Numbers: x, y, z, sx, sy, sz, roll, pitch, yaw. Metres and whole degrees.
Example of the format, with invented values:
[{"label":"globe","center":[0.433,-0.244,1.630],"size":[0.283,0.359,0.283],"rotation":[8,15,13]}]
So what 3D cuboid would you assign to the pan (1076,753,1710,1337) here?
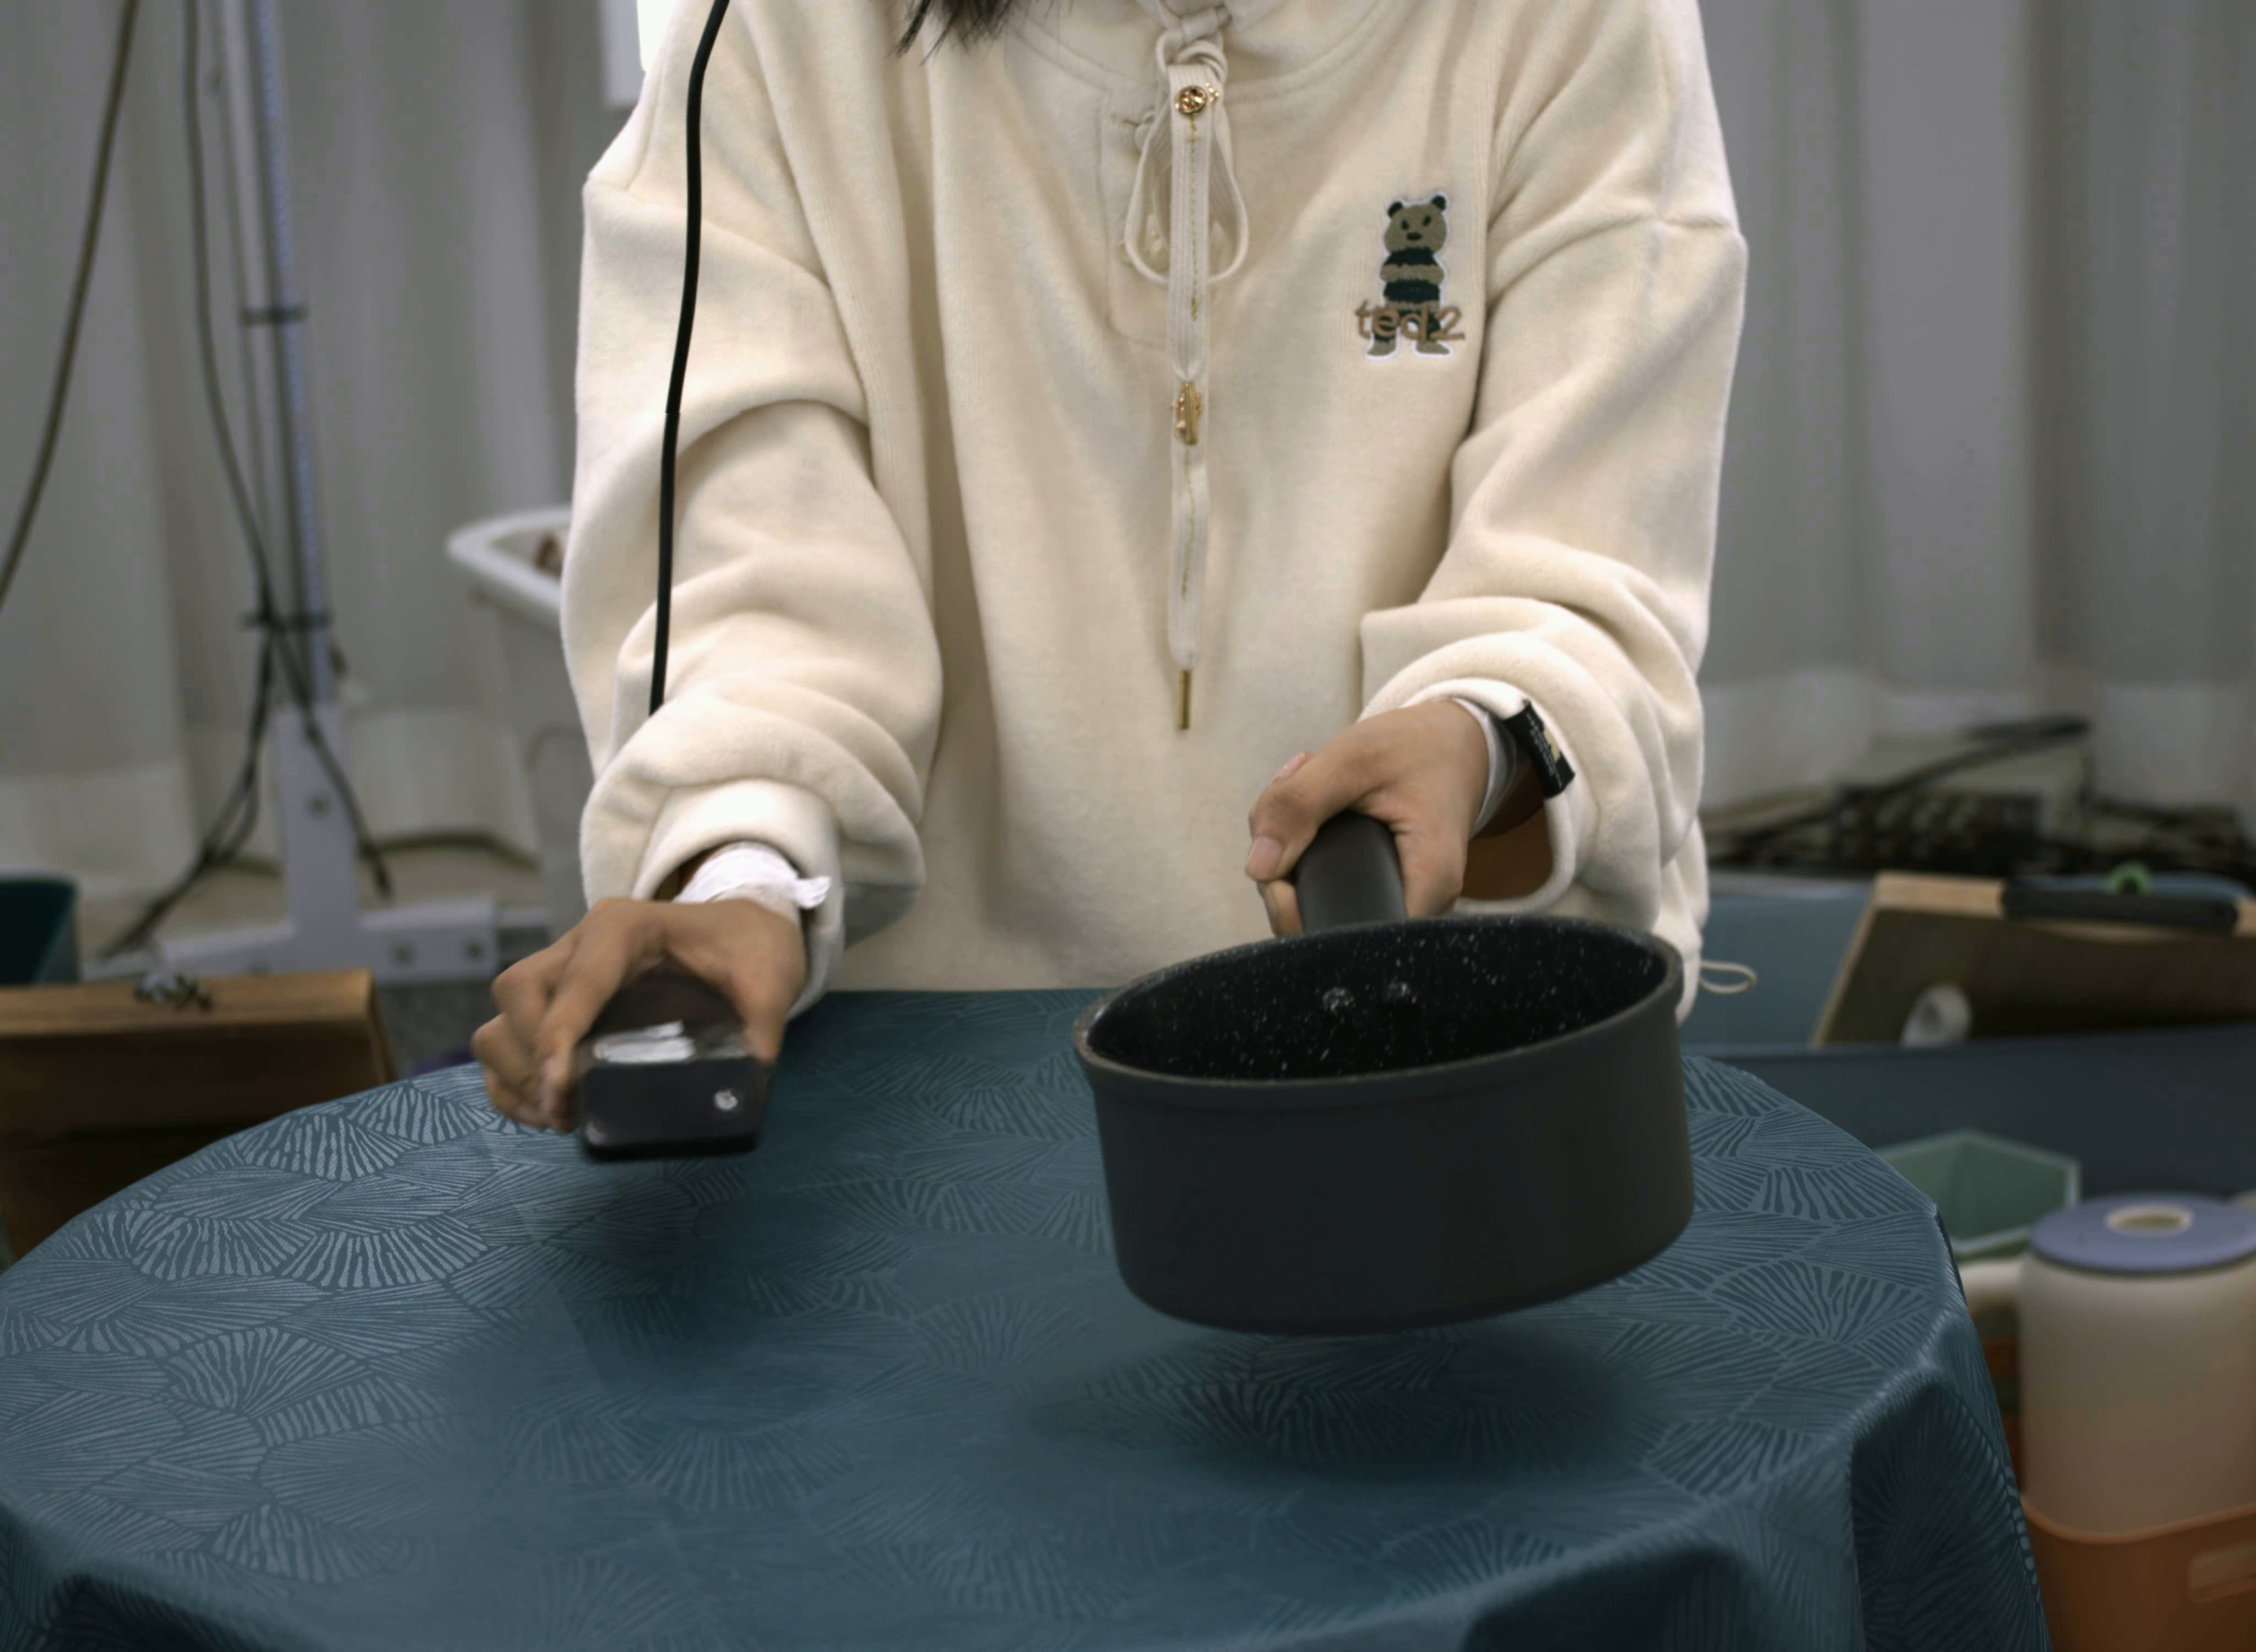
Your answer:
[{"label":"pan","center":[0.077,0.059,1.595],"size":[0.171,0.086,0.331],"rotation":[-7,14,4]}]

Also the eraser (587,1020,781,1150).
[{"label":"eraser","center":[-0.134,0.077,1.643],"size":[0.053,0.030,0.126],"rotation":[-3,2,-7]}]
